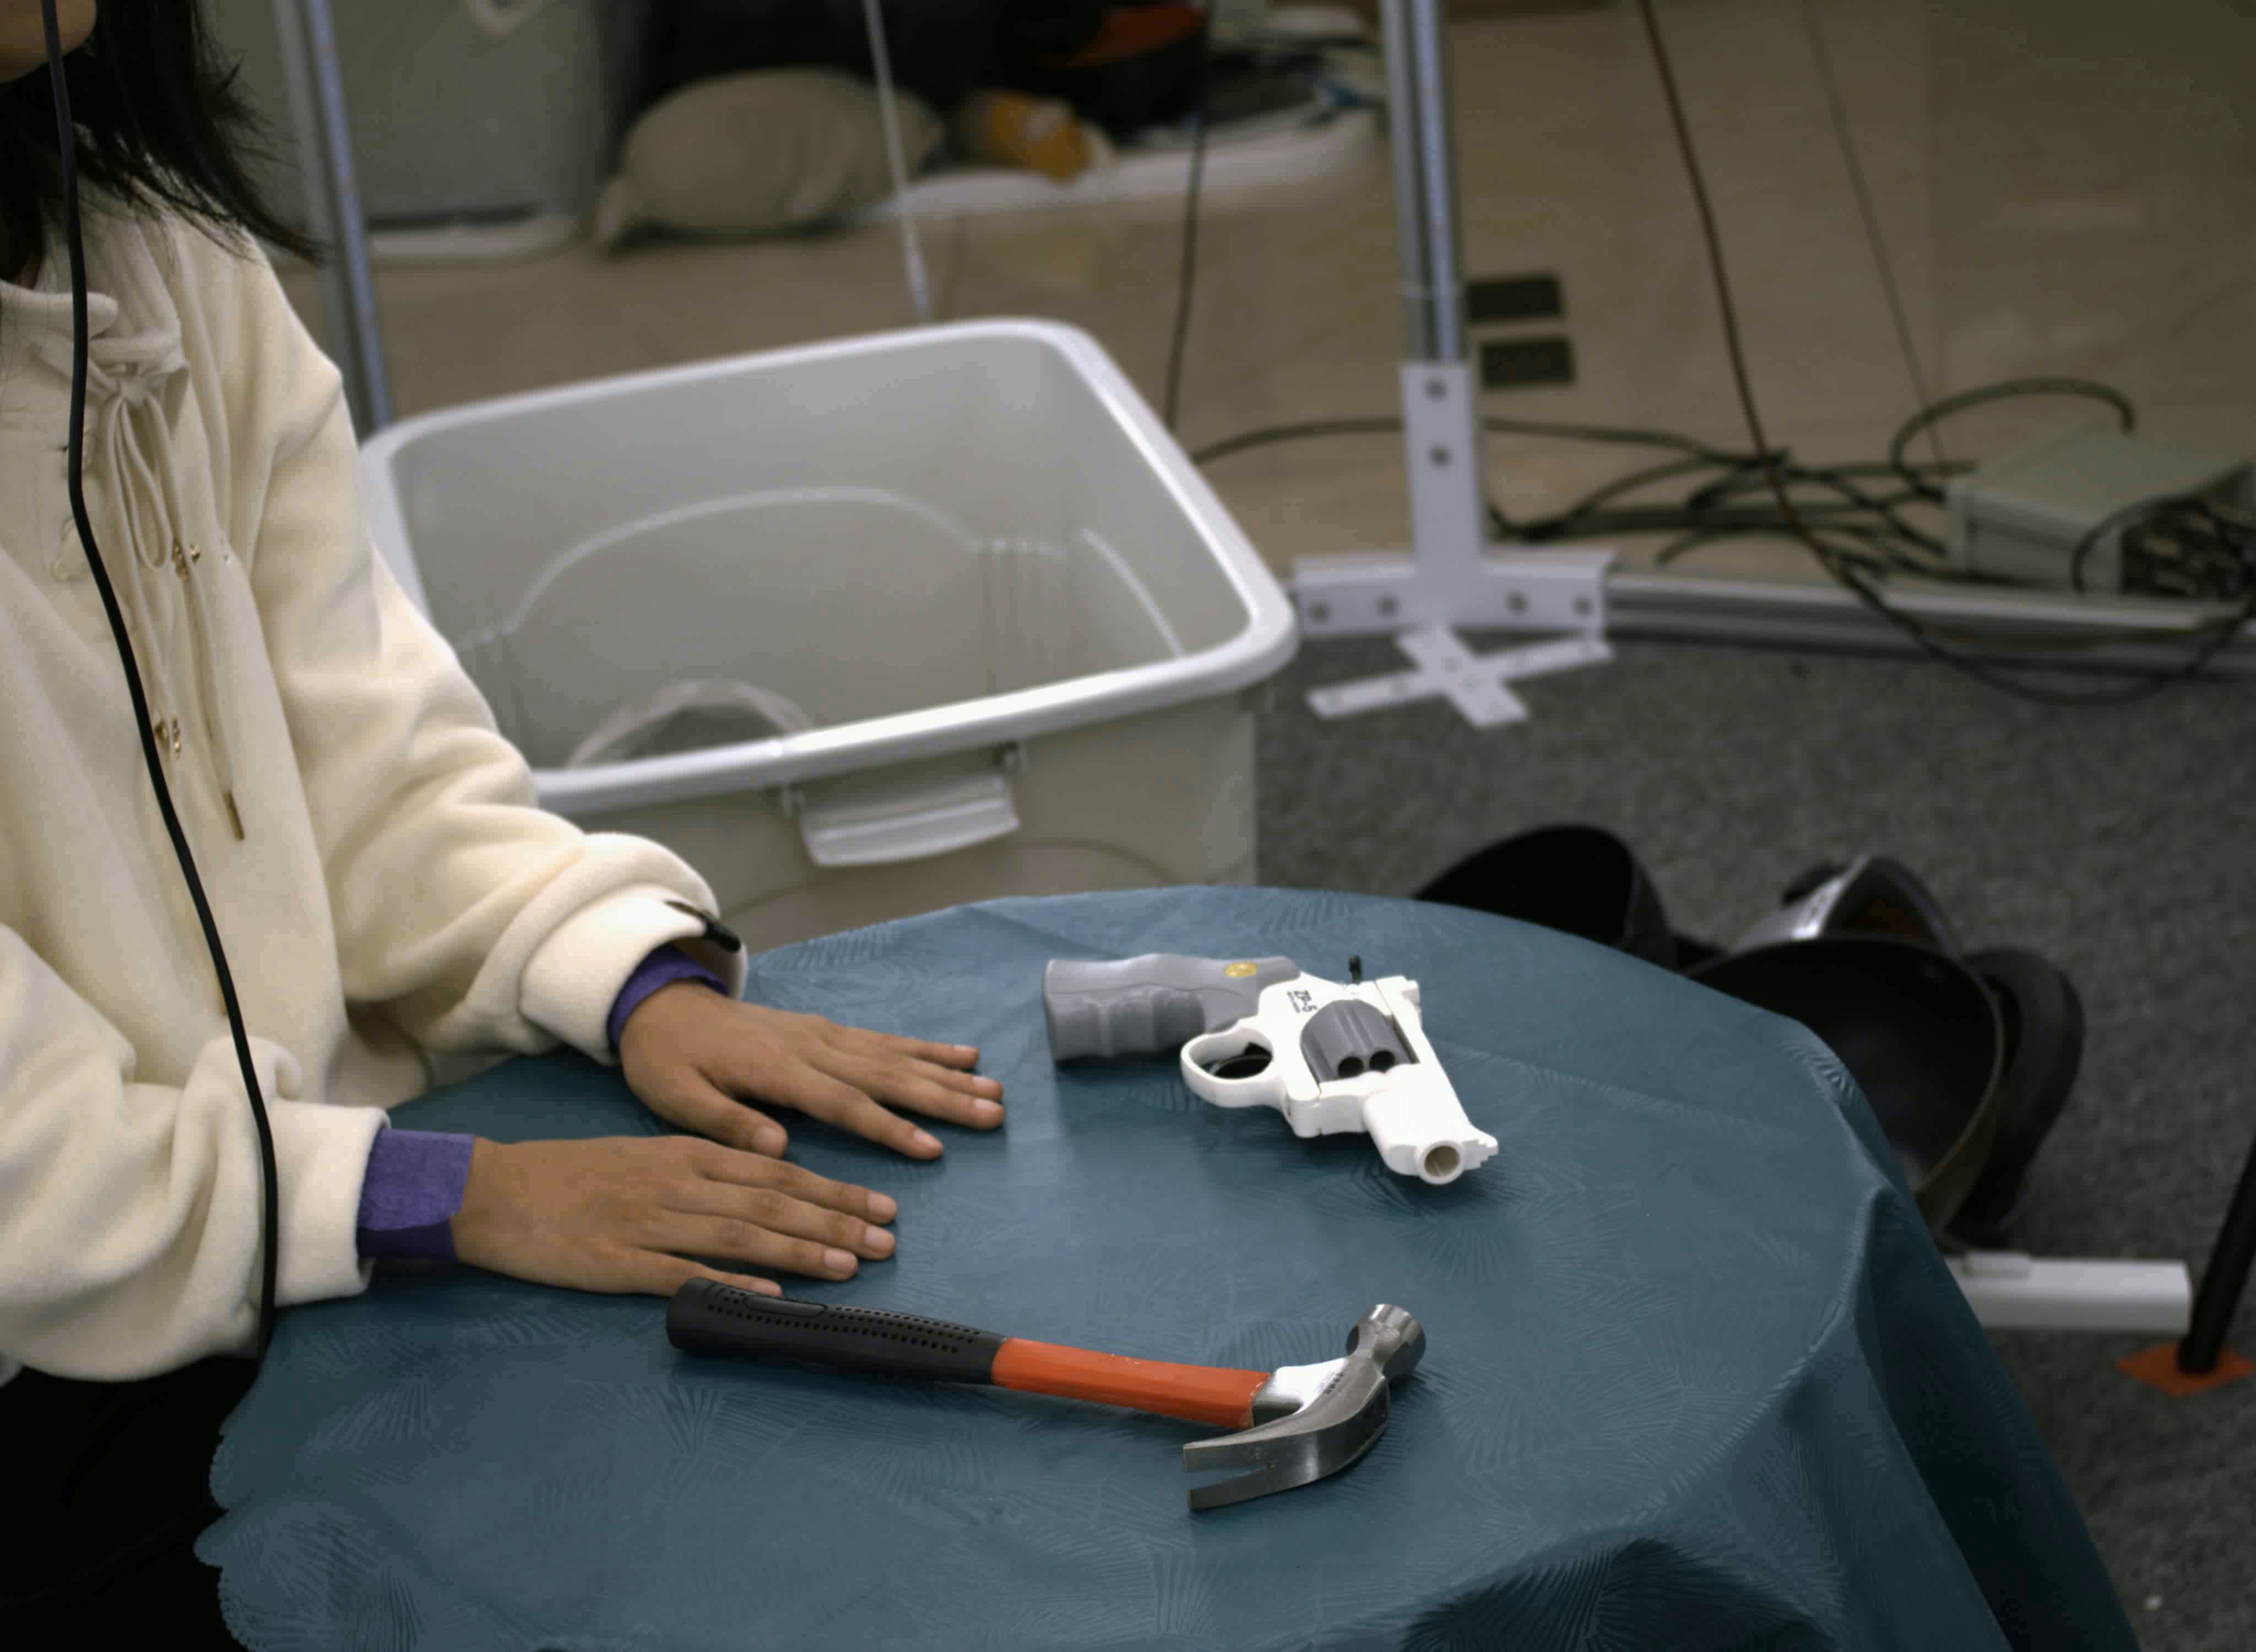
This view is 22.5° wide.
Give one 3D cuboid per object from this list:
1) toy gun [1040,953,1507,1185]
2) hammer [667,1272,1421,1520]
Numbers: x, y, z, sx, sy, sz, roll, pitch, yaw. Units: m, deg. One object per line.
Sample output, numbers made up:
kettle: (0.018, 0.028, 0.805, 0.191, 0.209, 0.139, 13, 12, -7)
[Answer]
toy gun: (0.051, 0.092, 2.190, 0.141, 0.039, 0.206, -10, 25, -11)
hammer: (-0.041, 0.190, 2.015, 0.276, 0.027, 0.109, 6, 37, 26)
